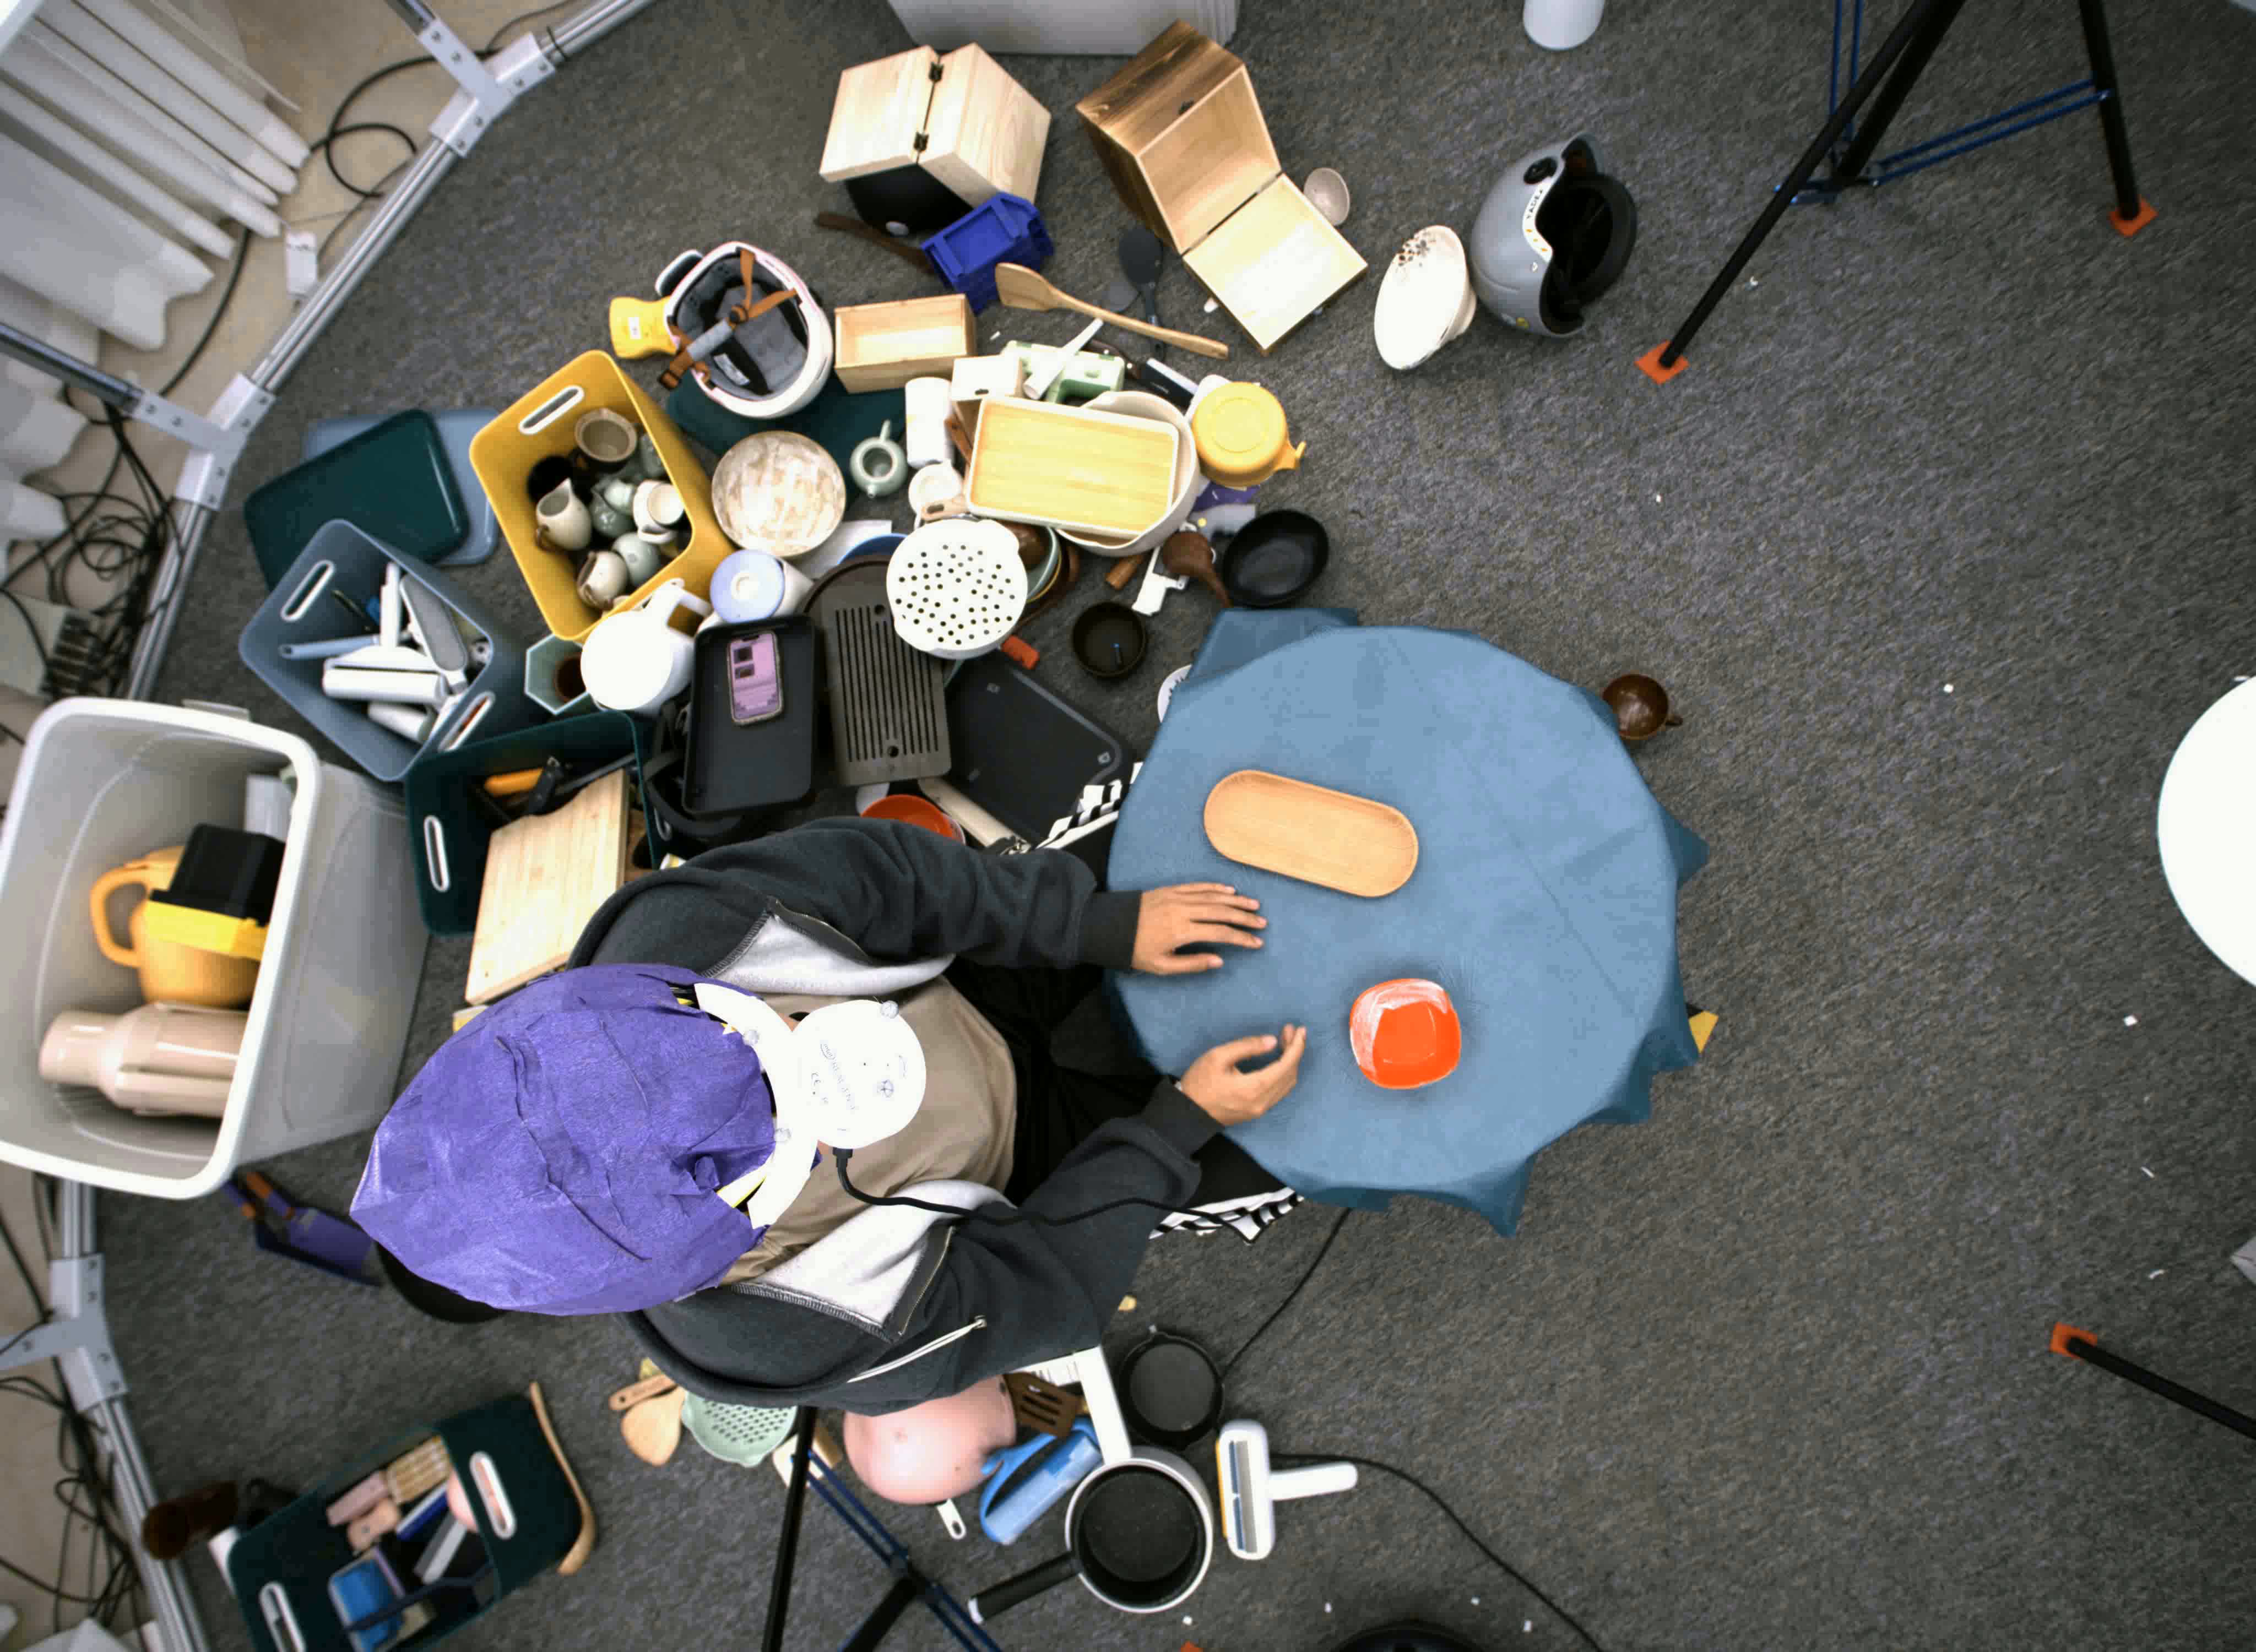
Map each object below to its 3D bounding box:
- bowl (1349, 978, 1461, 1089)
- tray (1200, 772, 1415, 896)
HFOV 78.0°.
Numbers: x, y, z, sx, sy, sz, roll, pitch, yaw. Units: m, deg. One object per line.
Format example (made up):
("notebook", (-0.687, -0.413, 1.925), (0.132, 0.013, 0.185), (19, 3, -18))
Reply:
("bowl", (0.284, 0.211, 1.422), (0.119, 0.051, 0.118), (-1, 87, 9))
("tray", (0.190, 0.007, 1.469), (0.231, 0.020, 0.101), (14, 88, 12))
